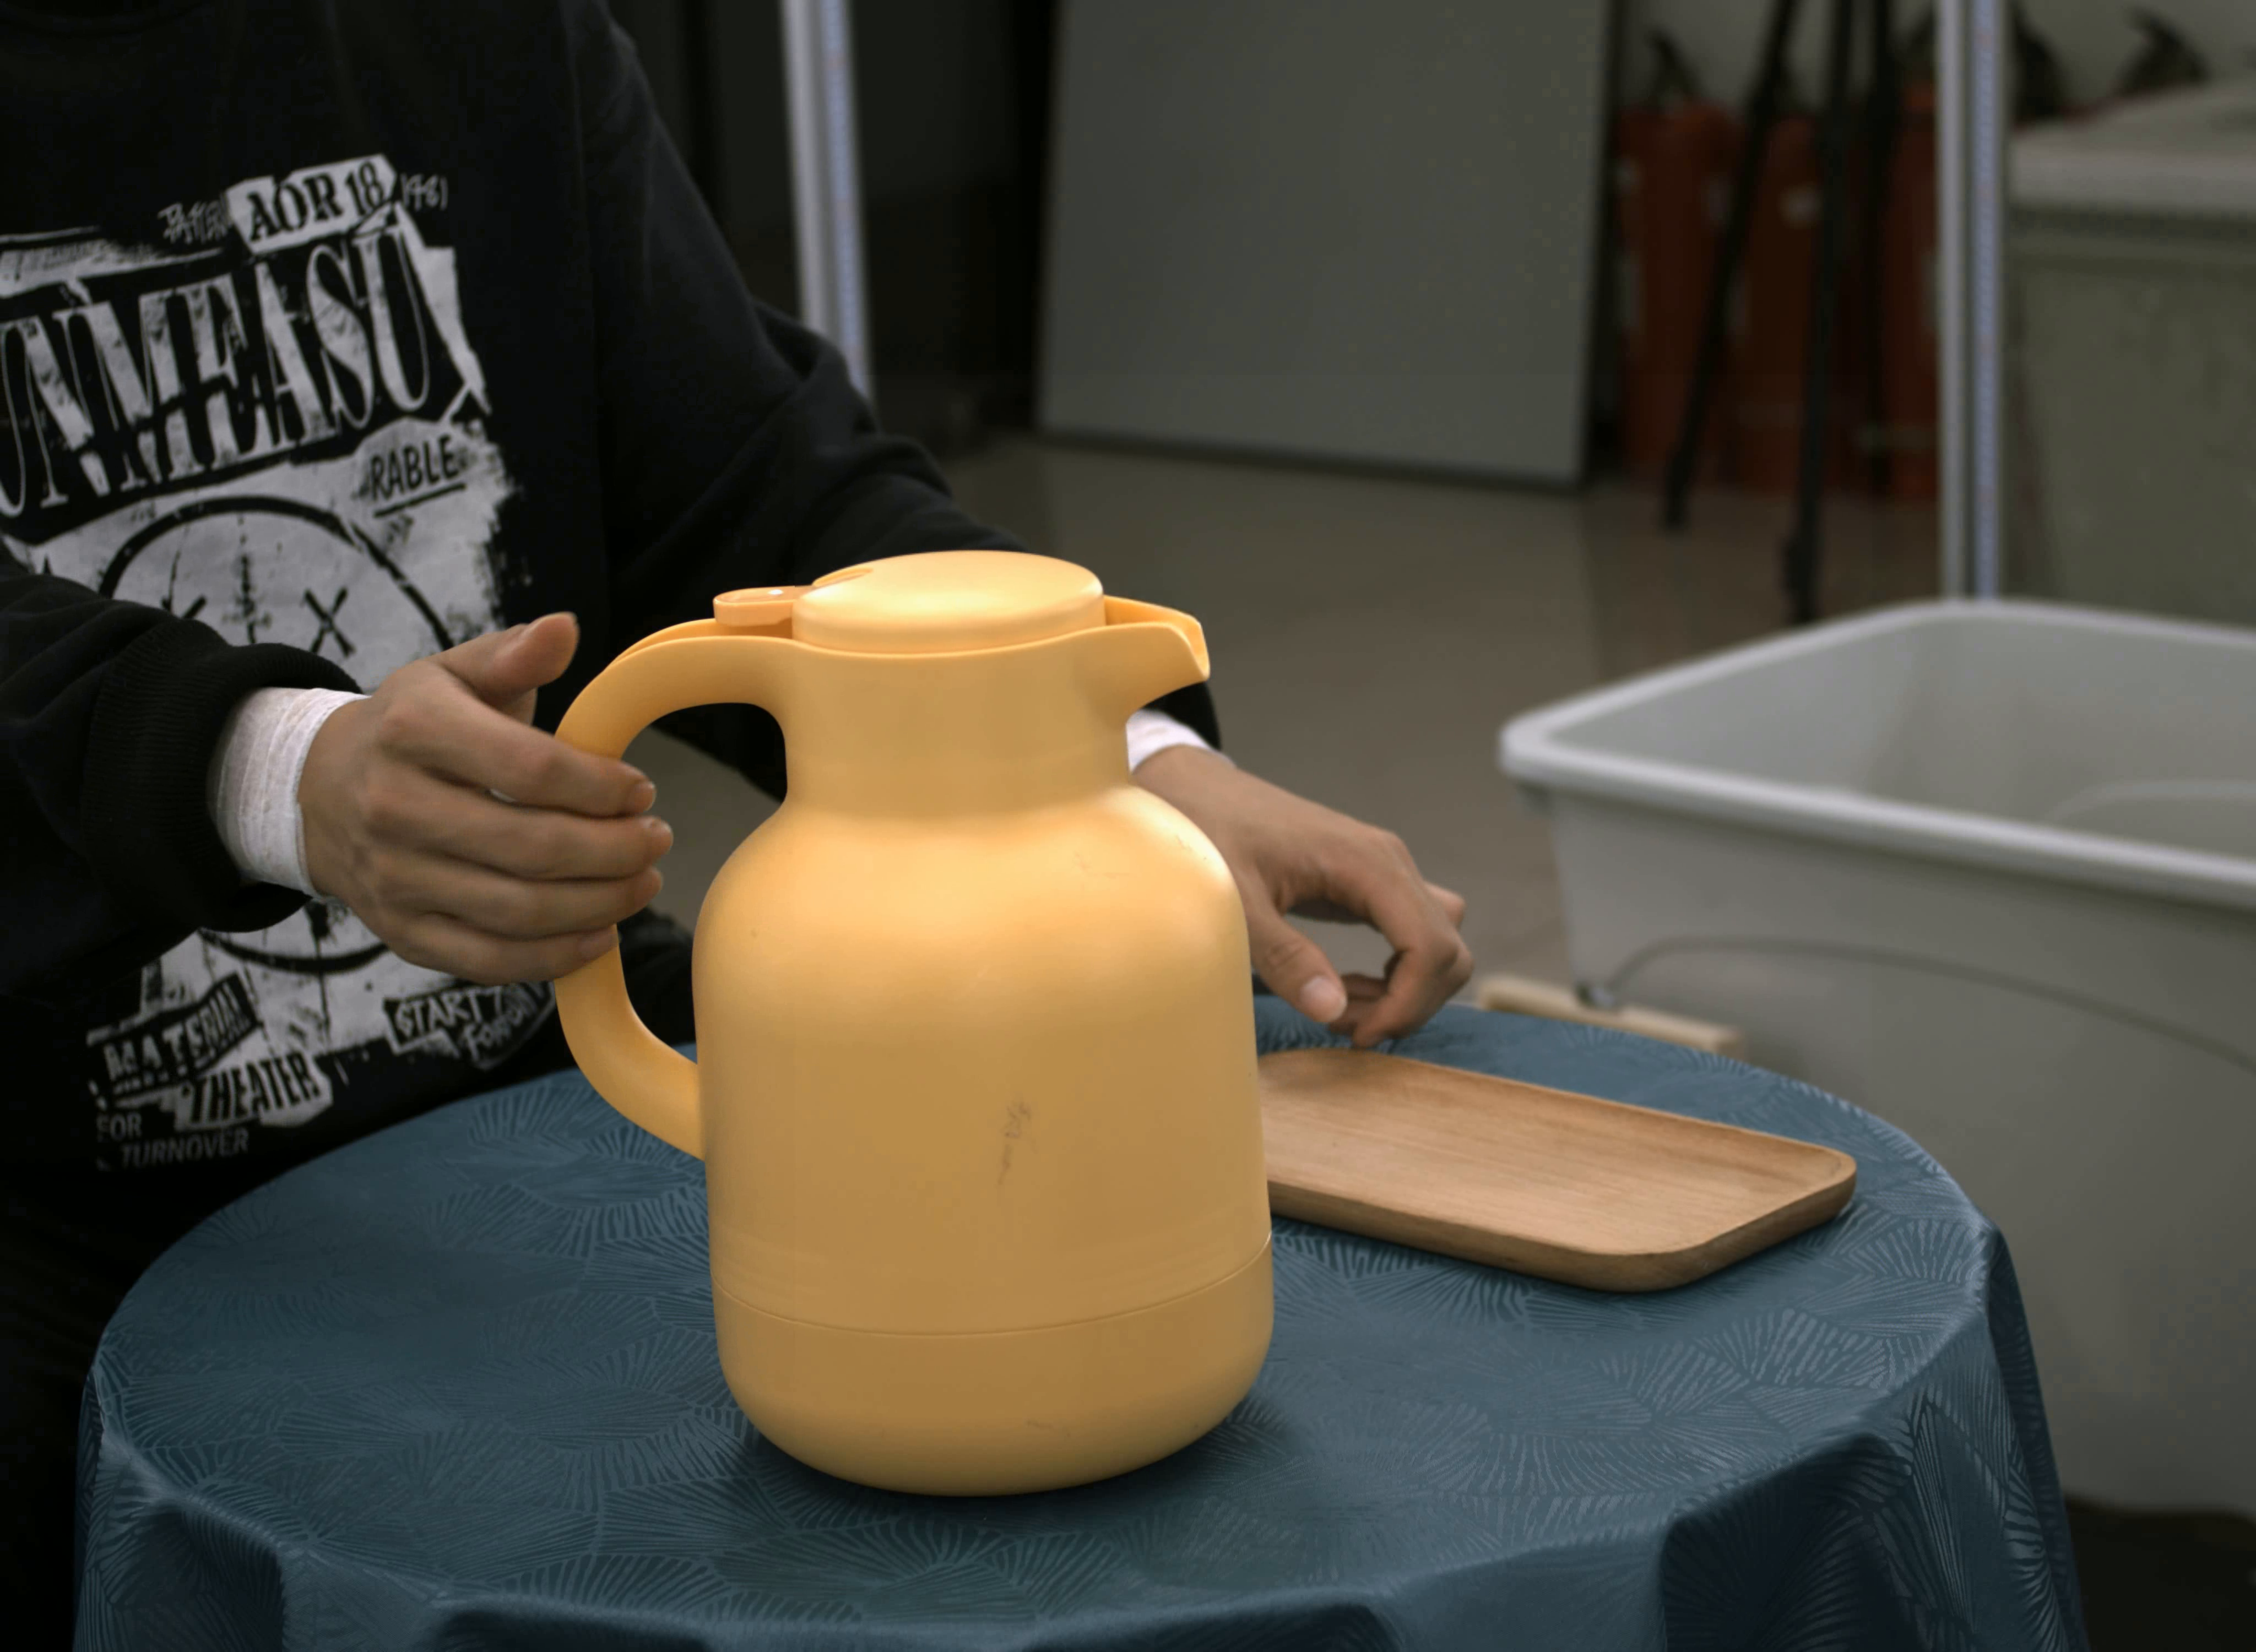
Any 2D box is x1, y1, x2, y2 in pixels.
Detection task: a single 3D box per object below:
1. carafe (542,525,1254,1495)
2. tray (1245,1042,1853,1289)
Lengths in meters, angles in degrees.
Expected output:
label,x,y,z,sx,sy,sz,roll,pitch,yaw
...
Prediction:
label,x,y,z,sx,sy,sz,roll,pitch,yaw
carafe,-0.065,0.048,1.540,0.201,0.263,0.162,1,12,12
tray,0.110,0.109,1.754,0.128,0.023,0.253,-14,16,-42
